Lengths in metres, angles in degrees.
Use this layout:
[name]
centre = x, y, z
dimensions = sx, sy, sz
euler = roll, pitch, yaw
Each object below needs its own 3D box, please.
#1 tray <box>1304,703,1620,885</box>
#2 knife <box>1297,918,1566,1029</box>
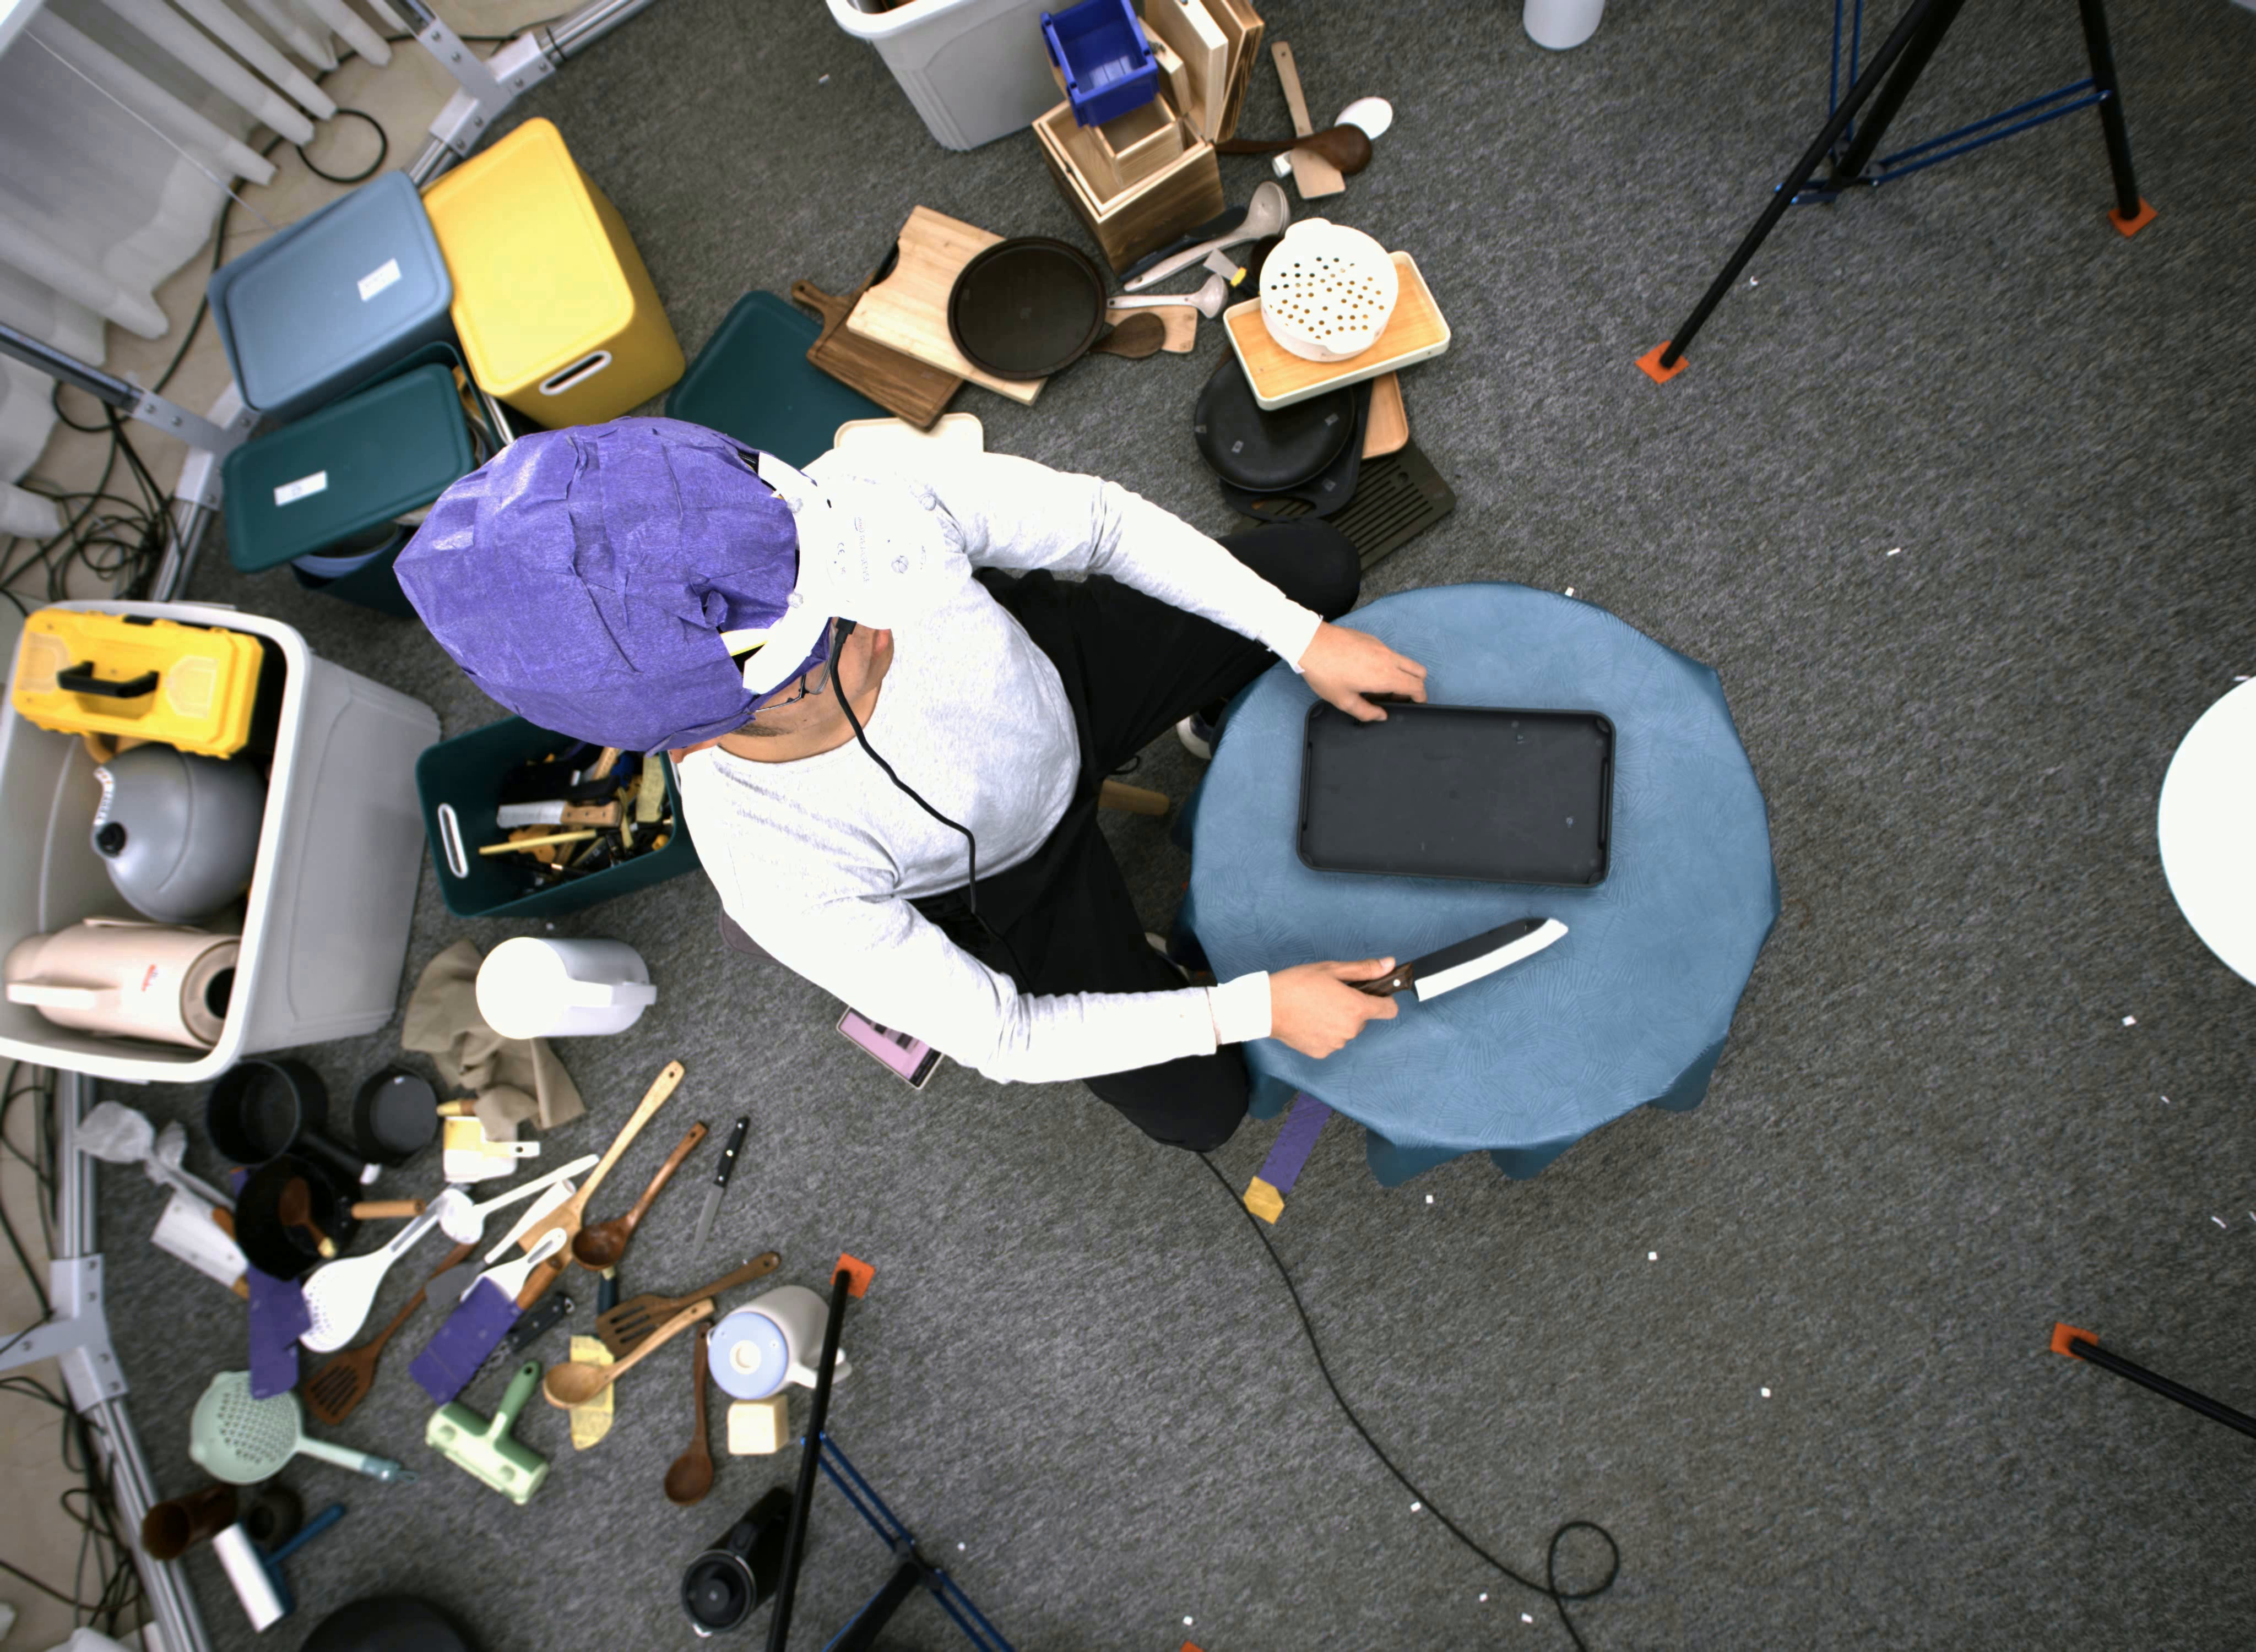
[tray]
centre = 0.346, -0.035, 1.434
dimensions = 0.319, 0.037, 0.183
euler = 1, 87, 11
[knife]
centre = 0.307, 0.146, 1.389
dimensions = 0.289, 0.020, 0.051
euler = -18, 110, -1
